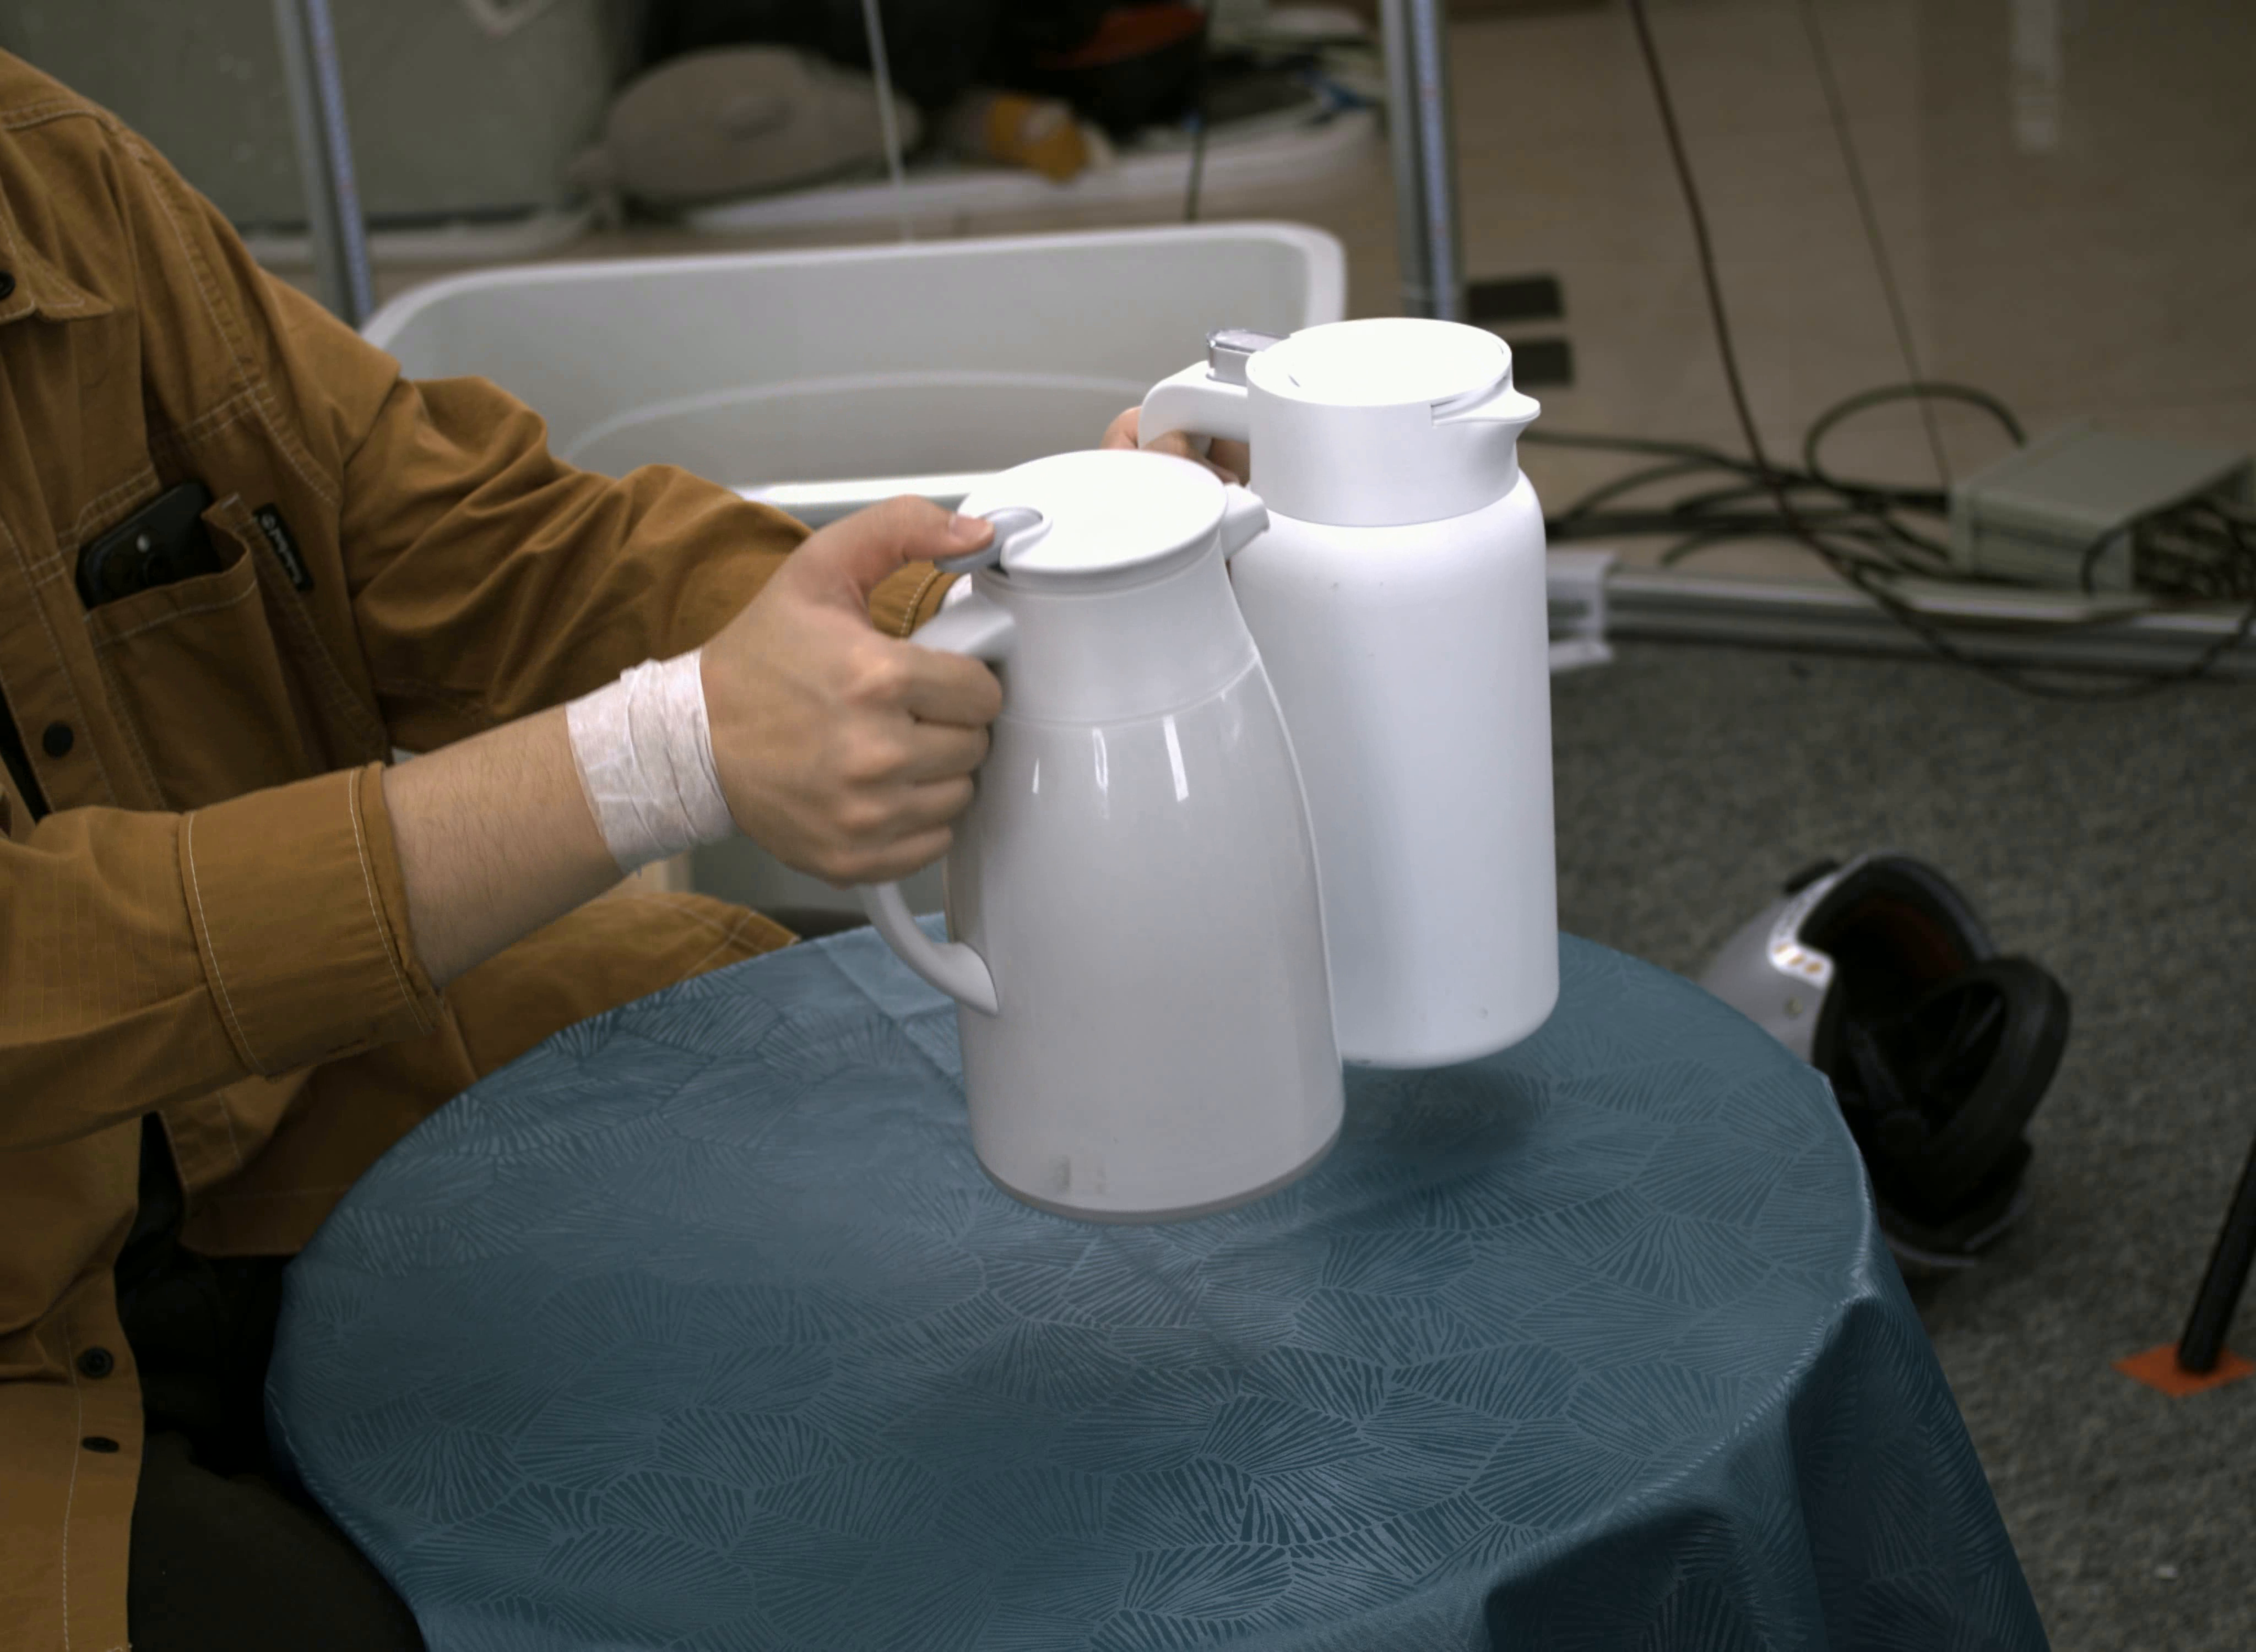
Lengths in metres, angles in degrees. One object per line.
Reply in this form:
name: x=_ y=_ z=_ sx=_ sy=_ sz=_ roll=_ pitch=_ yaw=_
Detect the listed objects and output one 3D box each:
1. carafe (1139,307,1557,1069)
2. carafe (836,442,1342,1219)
carafe: x=0.084 y=-0.053 z=2.120 sx=0.172 sy=0.273 sz=0.122 roll=14 pitch=32 yaw=34
carafe: x=-0.018 y=0.001 z=1.919 sx=0.167 sy=0.253 sz=0.131 roll=-22 pitch=32 yaw=-25
